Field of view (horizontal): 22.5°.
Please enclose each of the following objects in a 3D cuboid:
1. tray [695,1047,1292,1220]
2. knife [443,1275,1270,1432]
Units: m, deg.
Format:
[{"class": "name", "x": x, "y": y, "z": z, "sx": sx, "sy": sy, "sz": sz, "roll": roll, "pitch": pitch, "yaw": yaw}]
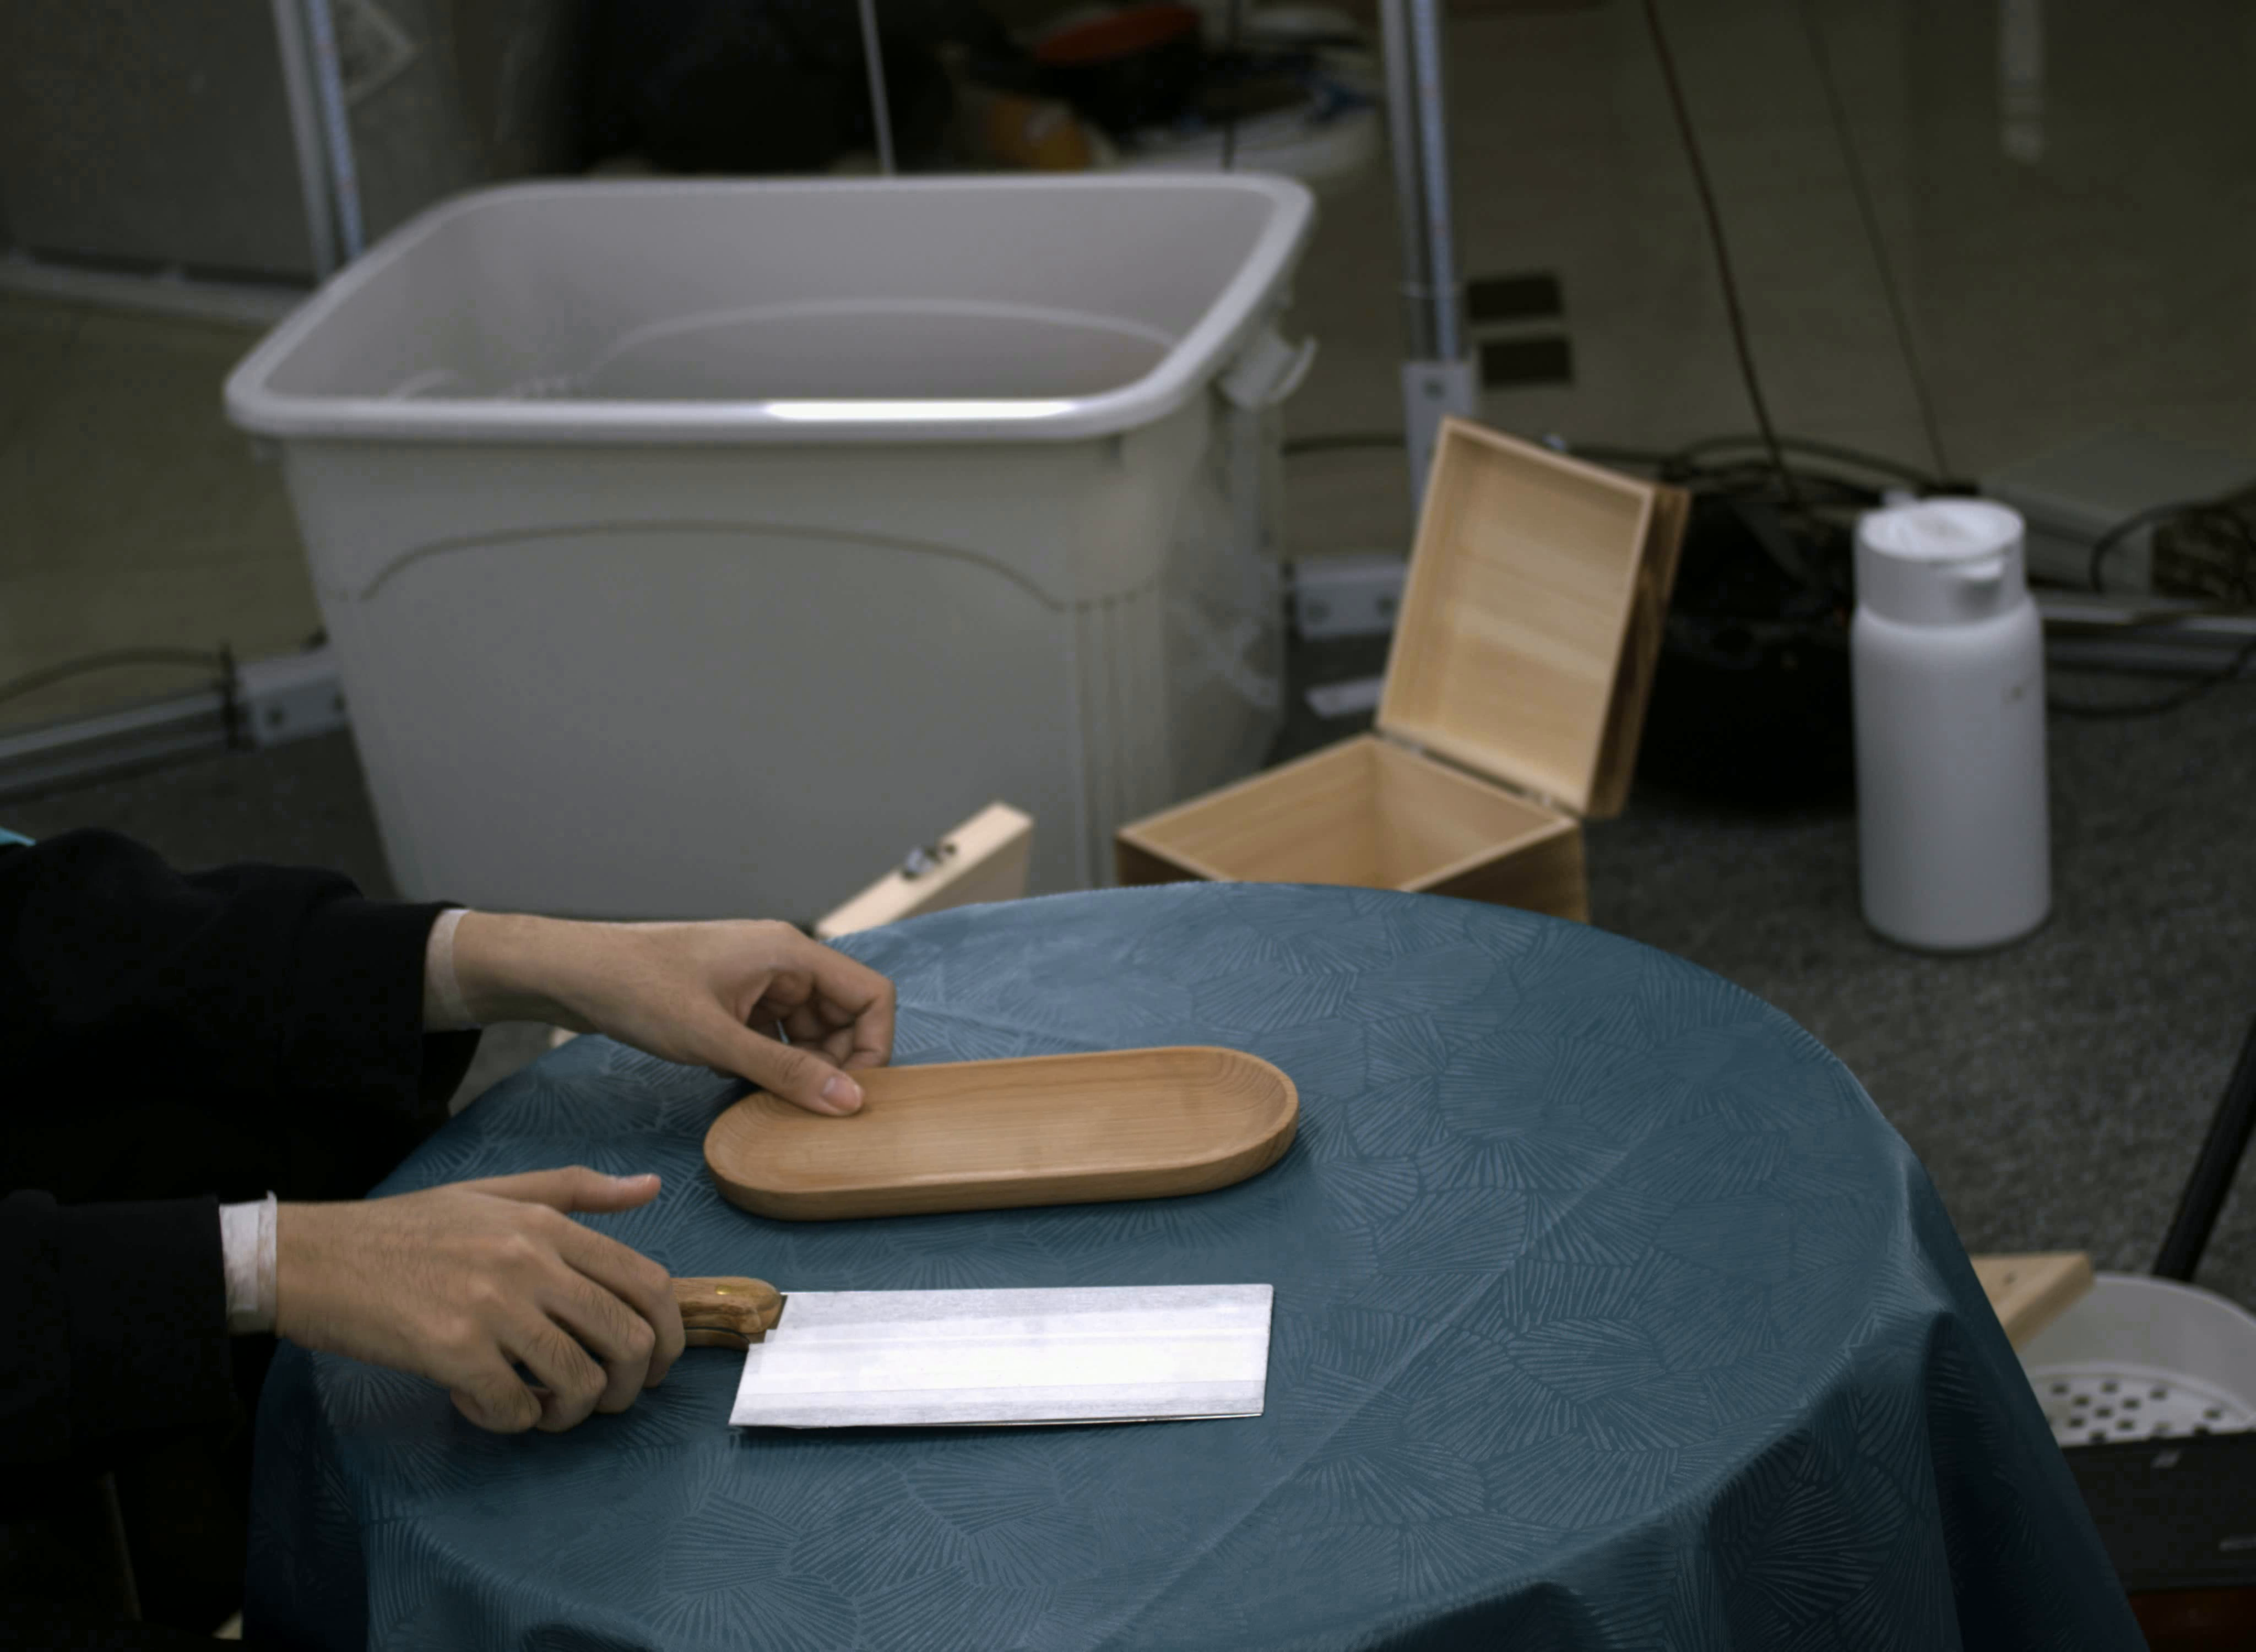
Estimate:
[{"class": "tray", "x": -0.052, "y": 0.119, "z": 2.182, "sx": 0.231, "sy": 0.020, "sz": 0.100, "roll": -5, "pitch": 25, "yaw": 6}, {"class": "knife", "x": -0.101, "y": 0.190, "z": 2.044, "sx": 0.305, "sy": 0.021, "sz": 0.091, "roll": -2, "pitch": 27, "yaw": 5}]
